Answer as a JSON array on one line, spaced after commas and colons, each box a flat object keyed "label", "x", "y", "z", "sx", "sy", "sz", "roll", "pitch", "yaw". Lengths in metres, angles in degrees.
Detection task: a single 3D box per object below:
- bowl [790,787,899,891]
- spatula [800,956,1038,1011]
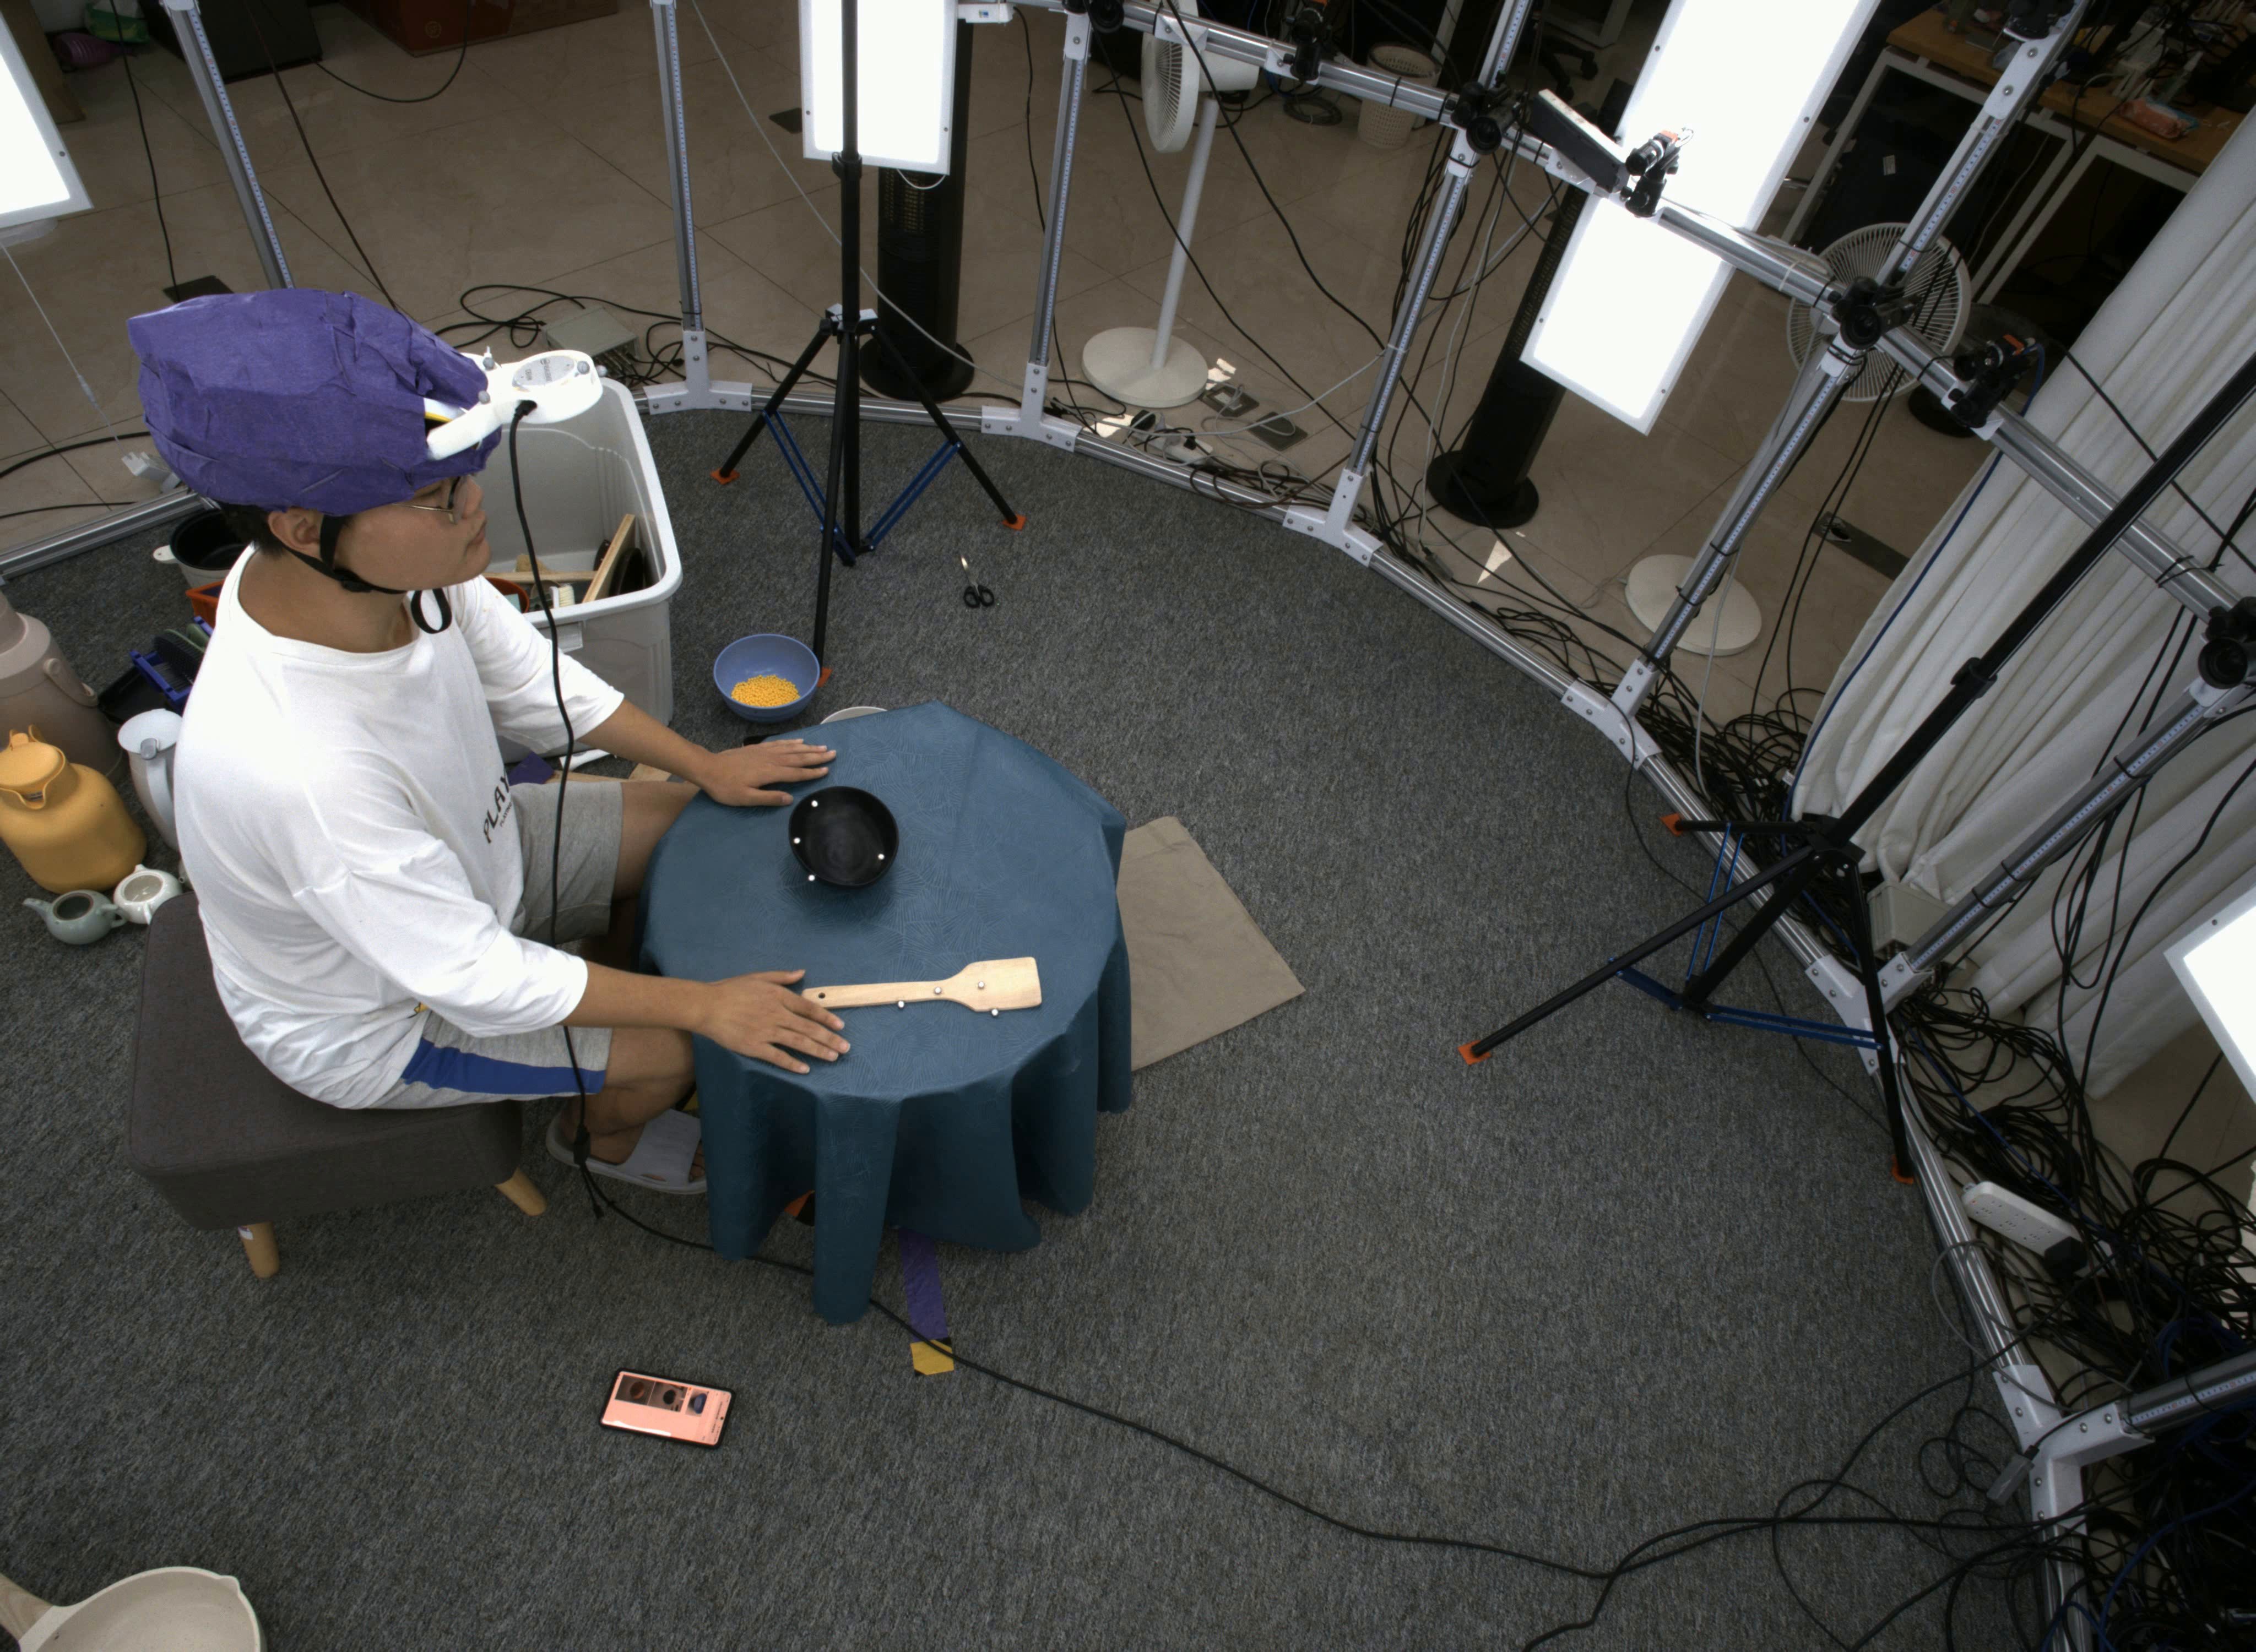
[{"label": "bowl", "x": -0.368, "y": 0.024, "z": 1.689, "sx": 0.138, "sy": 0.068, "sz": 0.166, "roll": -14, "pitch": 56, "yaw": -21}, {"label": "spatula", "x": -0.258, "y": 0.203, "z": 1.617, "sx": 0.293, "sy": 0.011, "sz": 0.071, "roll": -3, "pitch": 56, "yaw": -16}]
